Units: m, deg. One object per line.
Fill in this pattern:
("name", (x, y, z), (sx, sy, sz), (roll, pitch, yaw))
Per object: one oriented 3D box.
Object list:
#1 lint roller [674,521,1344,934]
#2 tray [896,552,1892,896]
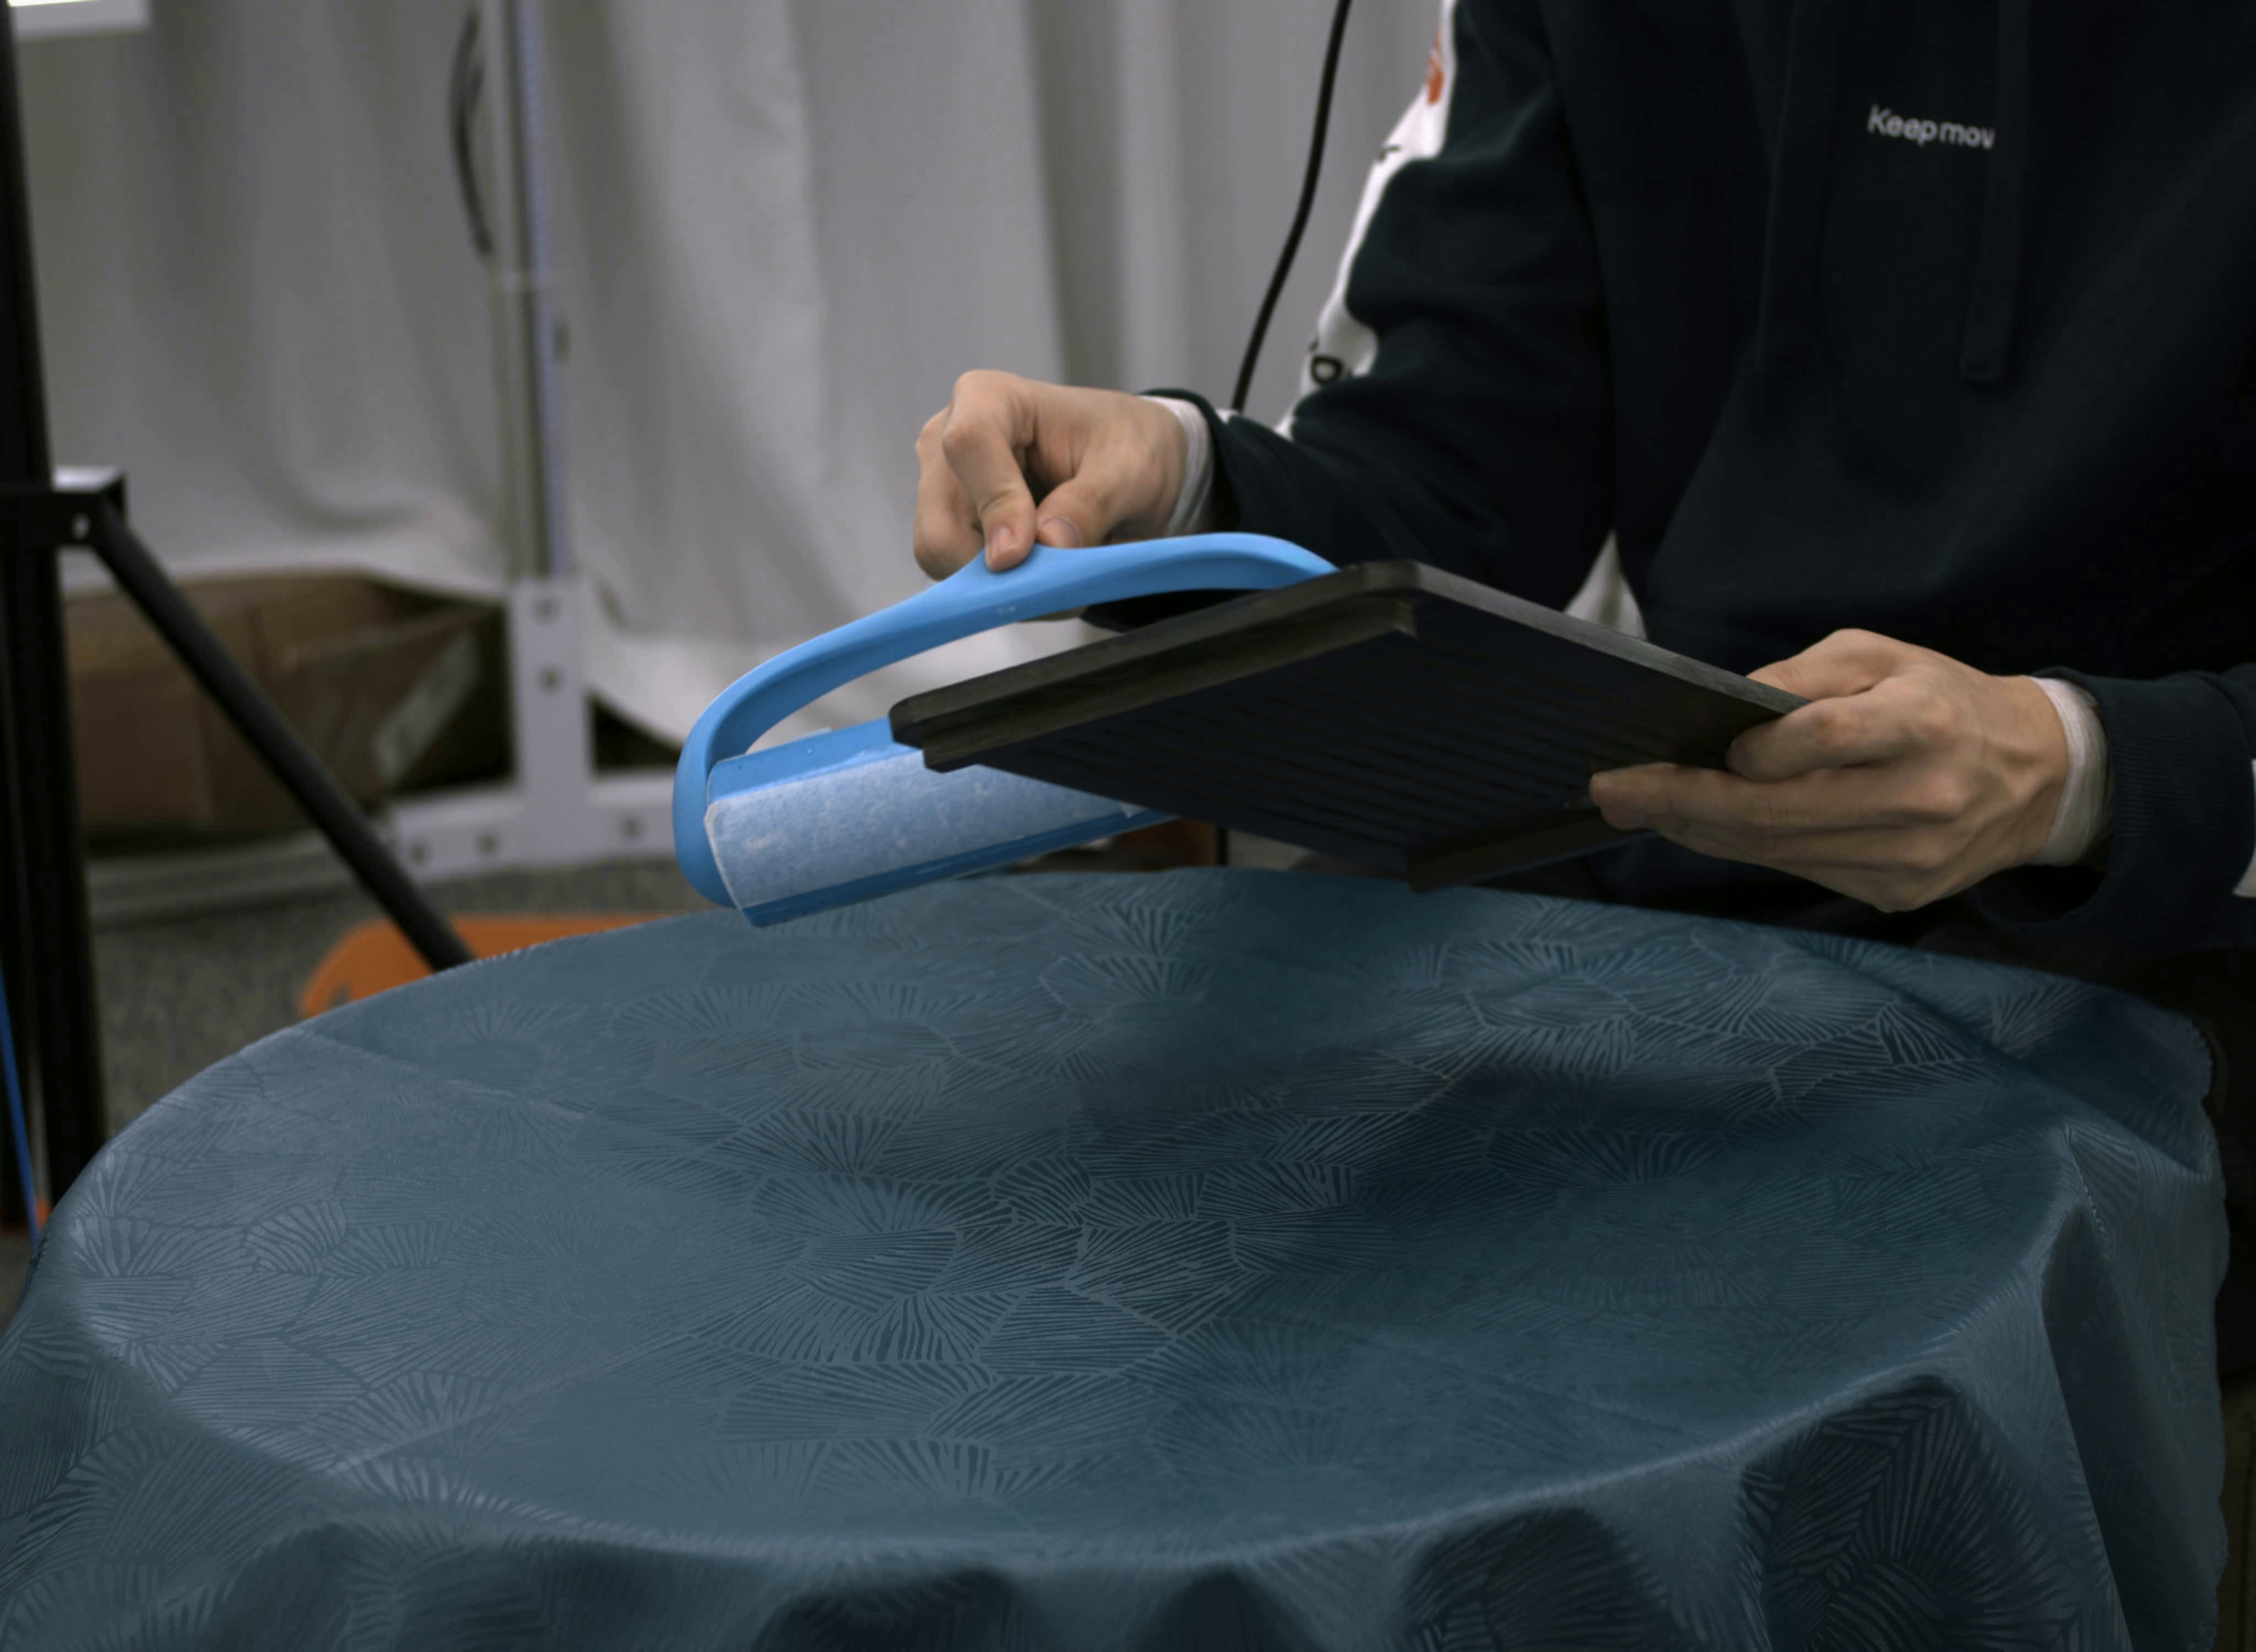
("lint roller", (-0.031, -0.054, 1.653), (0.230, 0.067, 0.182), (-18, 35, 12))
("tray", (0.084, -0.022, 1.516), (0.173, 0.019, 0.298), (-16, -17, 31))
